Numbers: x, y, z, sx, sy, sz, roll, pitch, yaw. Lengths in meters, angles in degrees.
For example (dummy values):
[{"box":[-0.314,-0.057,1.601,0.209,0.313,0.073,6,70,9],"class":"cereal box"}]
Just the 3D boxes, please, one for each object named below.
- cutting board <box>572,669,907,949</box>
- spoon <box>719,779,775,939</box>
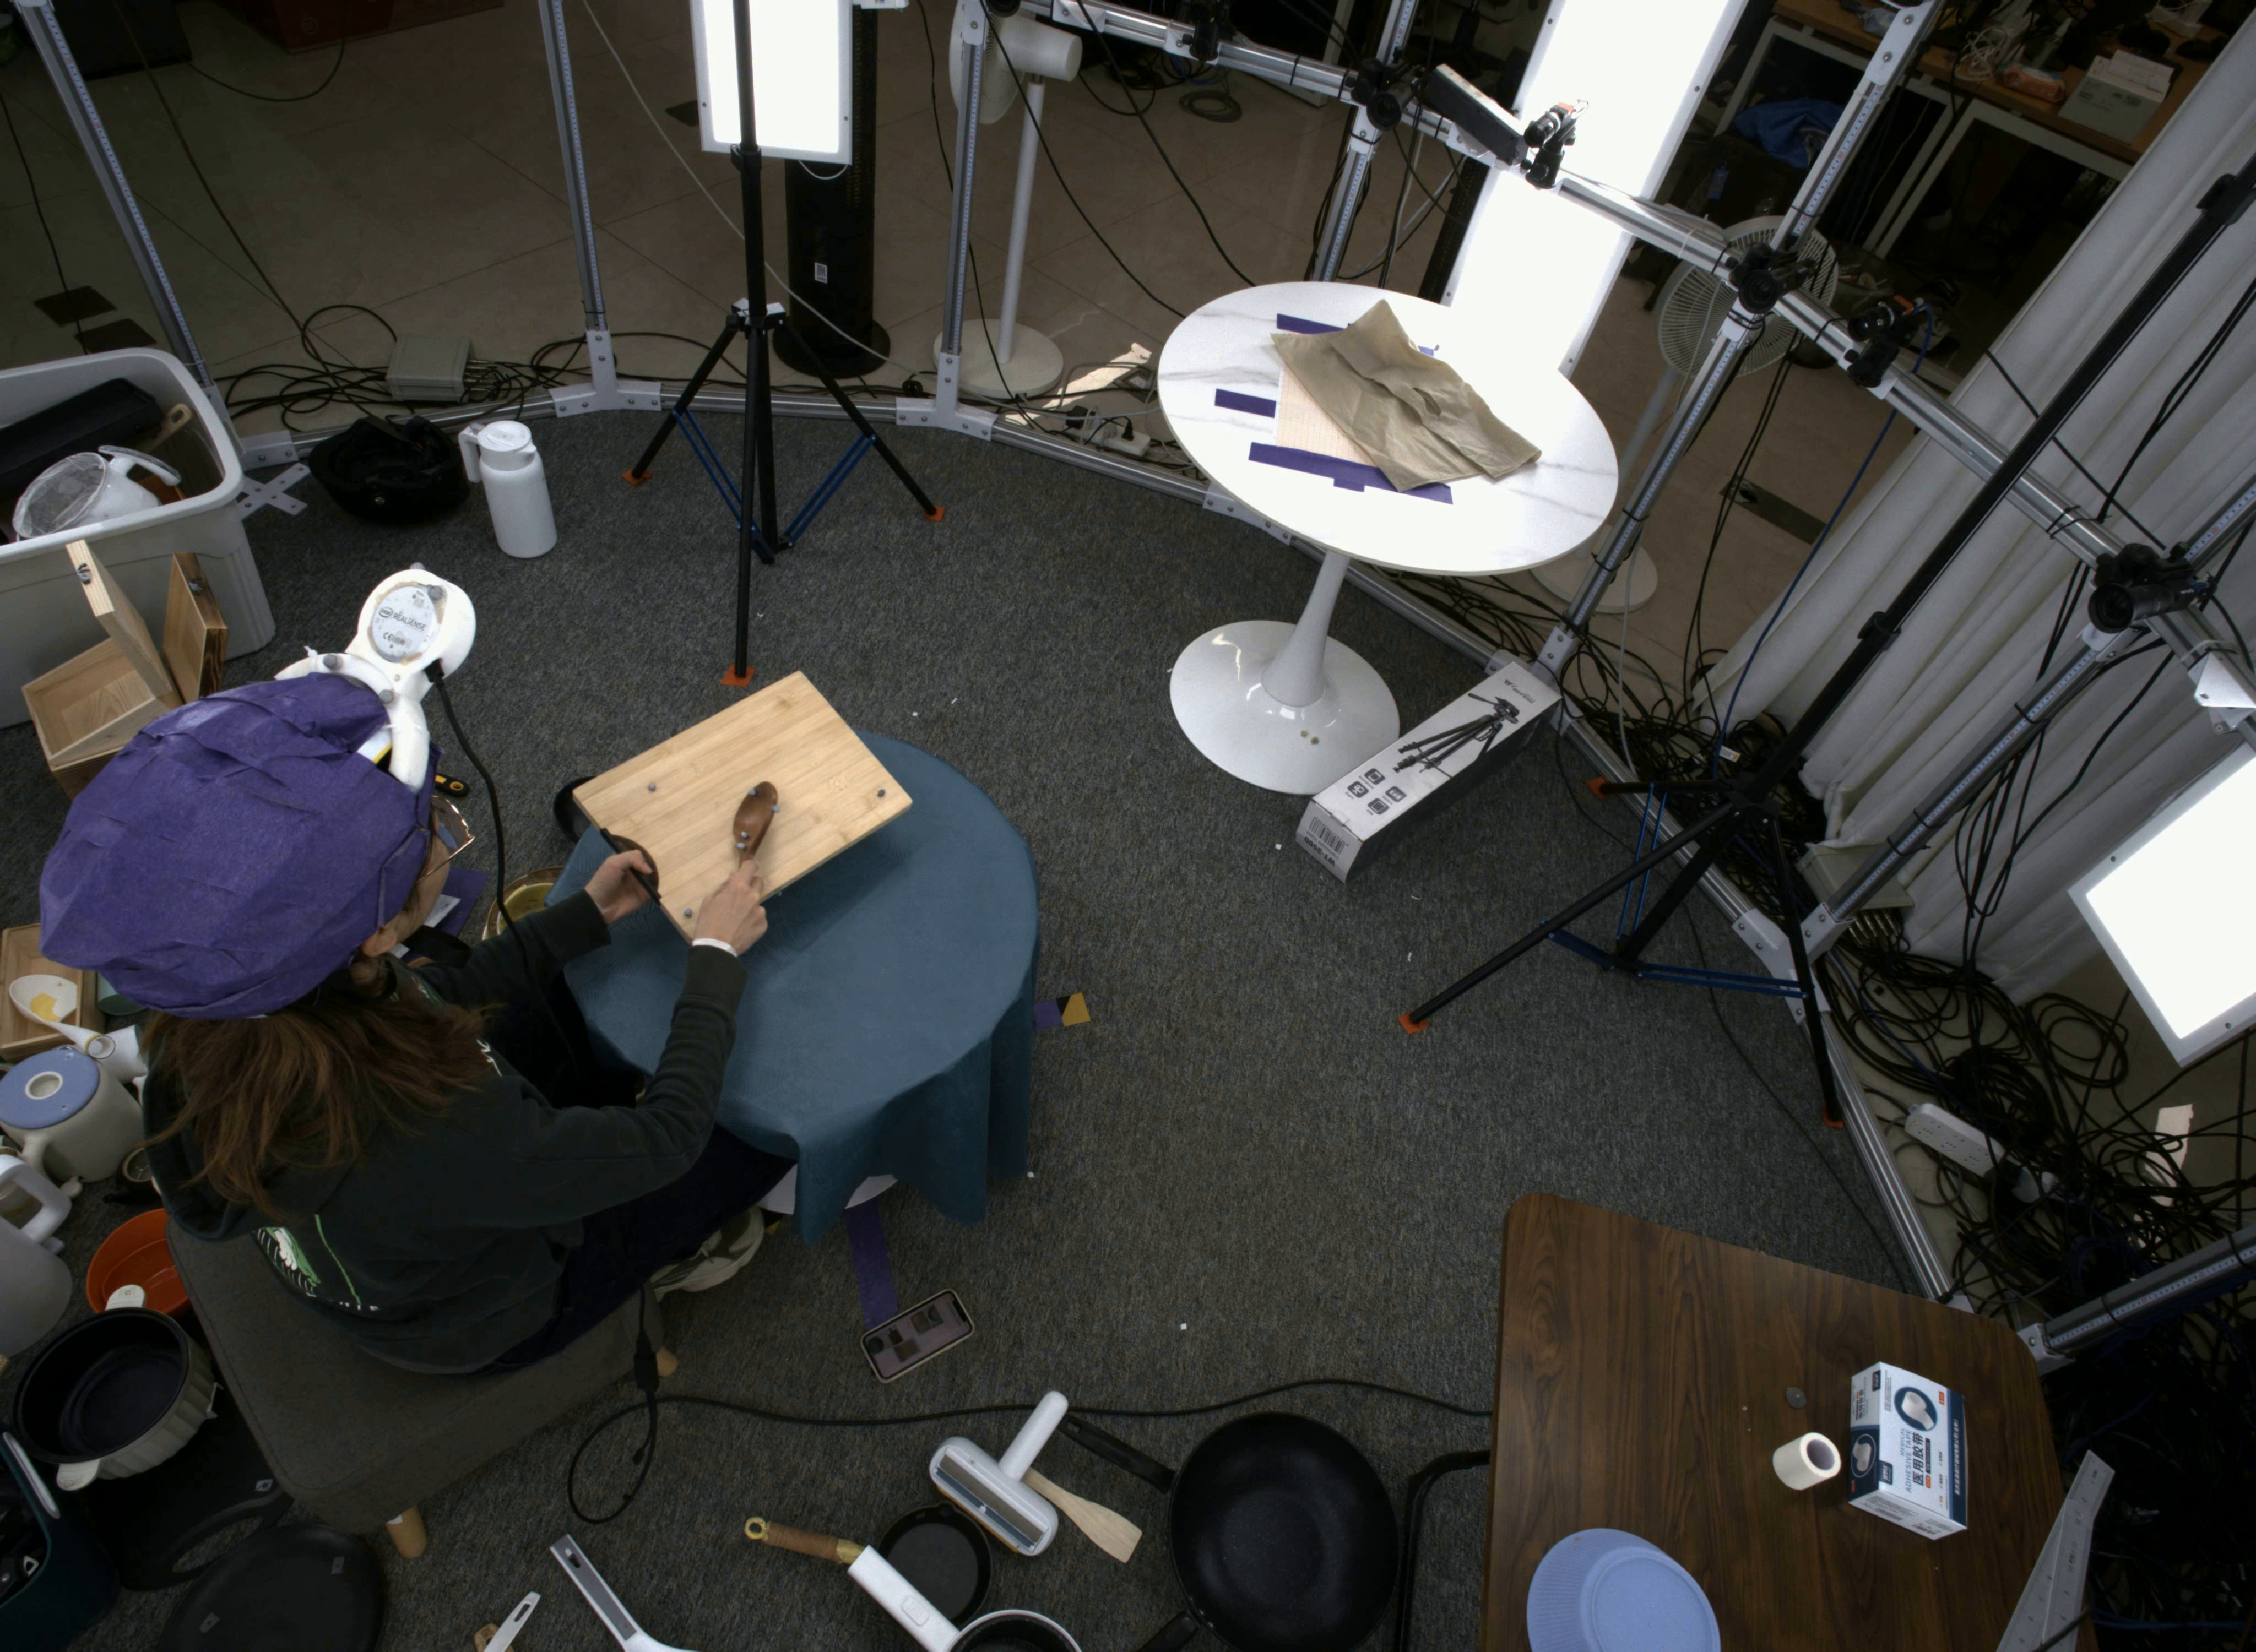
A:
[{"box":[-0.479,-0.032,1.606,0.249,0.024,0.349,48,55,7],"class":"cutting board"},{"box":[-0.454,0.035,1.526,0.018,0.074,0.212,40,40,-43],"class":"spoon"}]
